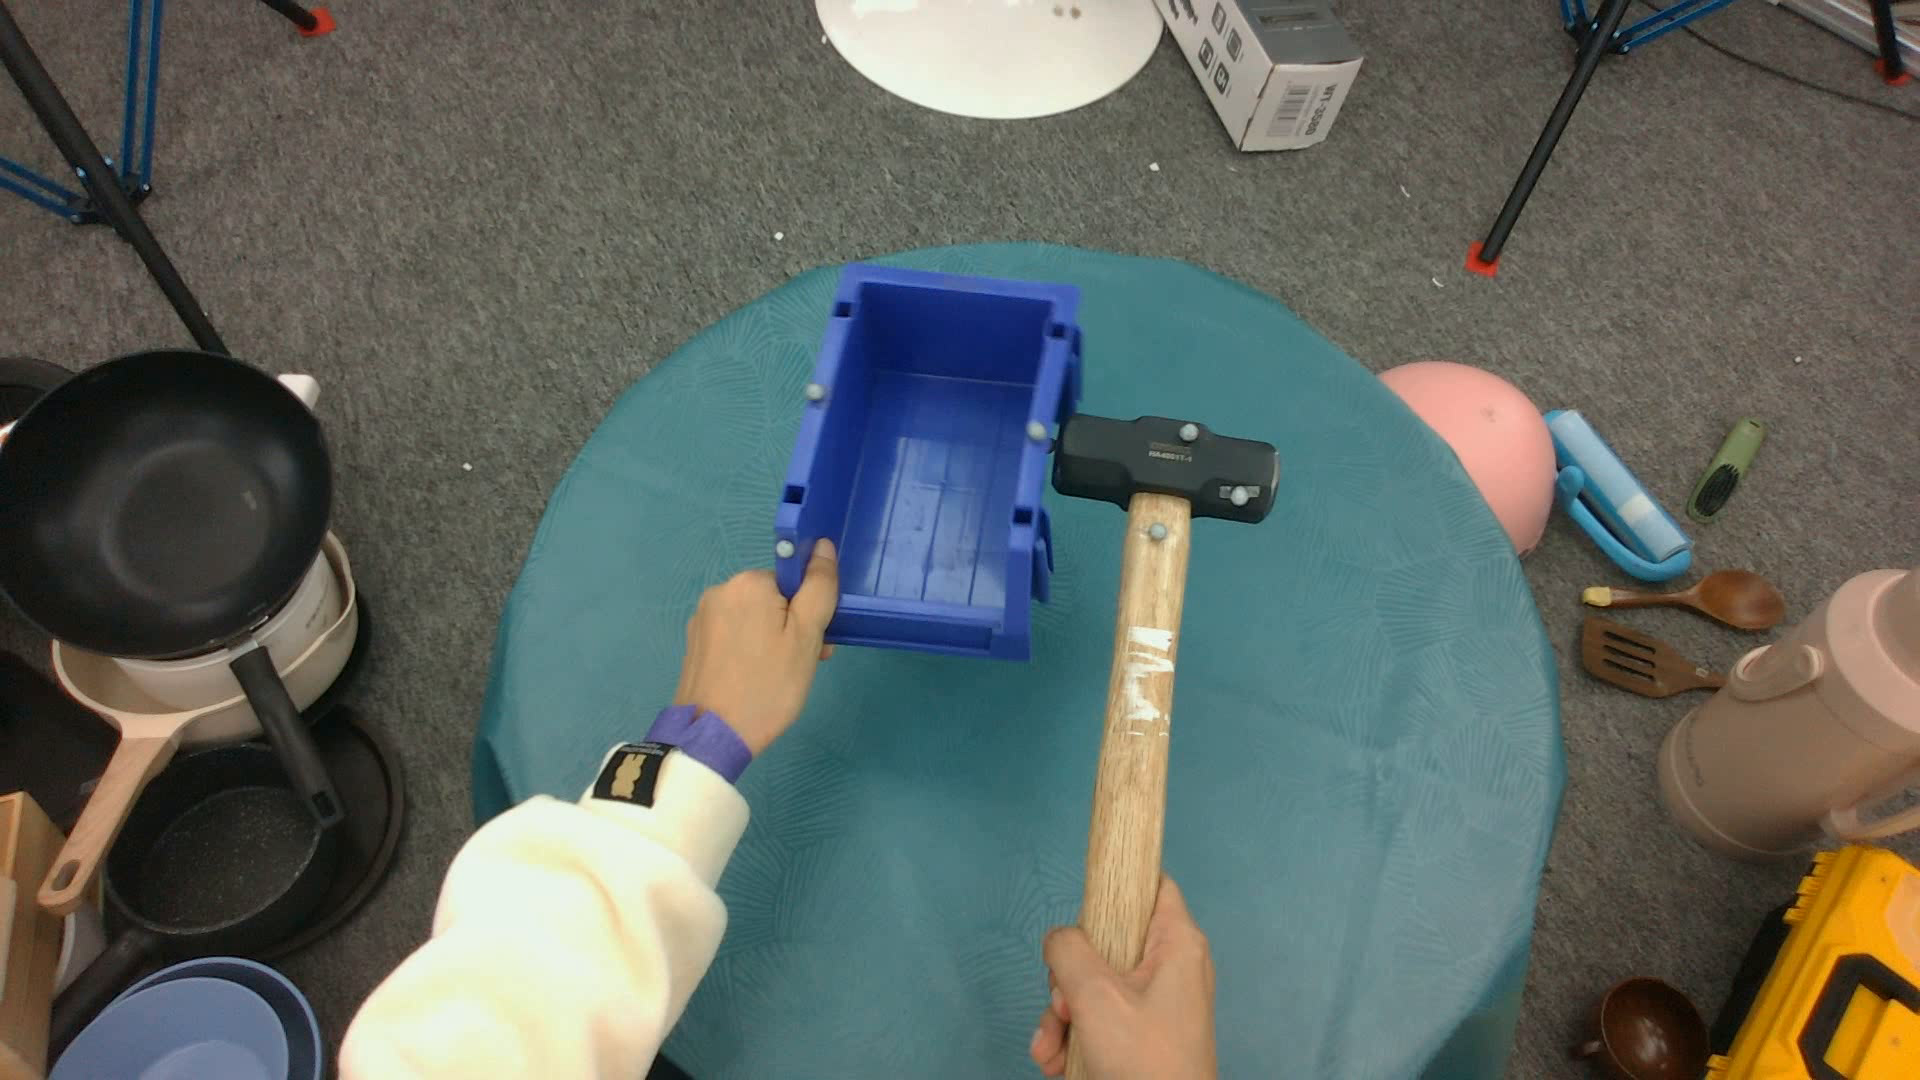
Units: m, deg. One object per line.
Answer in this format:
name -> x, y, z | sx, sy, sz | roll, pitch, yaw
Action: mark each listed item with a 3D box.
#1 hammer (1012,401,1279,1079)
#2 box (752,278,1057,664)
hammer -> 0.070, 0.083, 0.614 | 0.107, 0.038, 0.306 | 12, 68, 2
box -> -0.022, -0.033, 0.674 | 0.124, 0.081, 0.180 | 3, 60, 9
